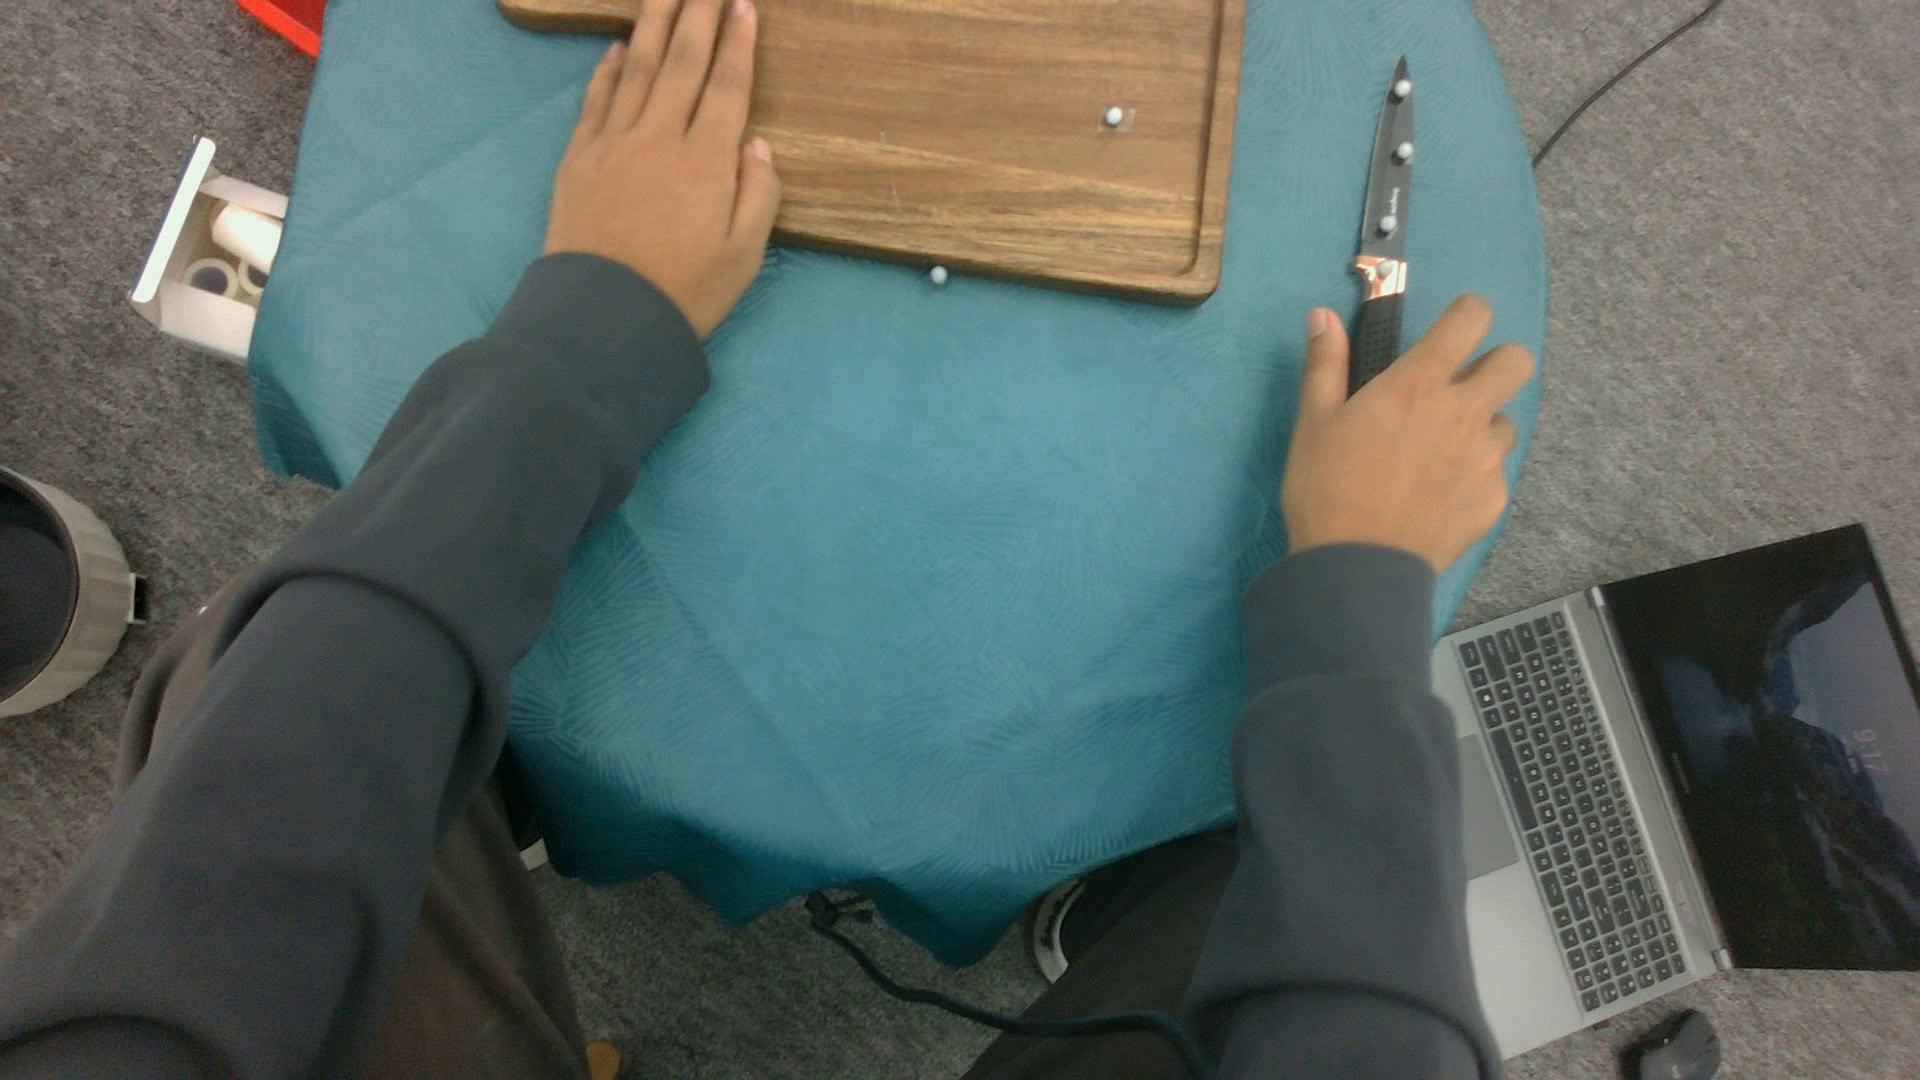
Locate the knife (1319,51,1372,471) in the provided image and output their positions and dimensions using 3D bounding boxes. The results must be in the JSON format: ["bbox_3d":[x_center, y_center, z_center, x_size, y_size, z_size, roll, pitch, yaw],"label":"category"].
[{"bbox_3d":[0.196,-0.145,0.700,0.026,0.017,0.226,5,79,-3],"label":"knife"}]

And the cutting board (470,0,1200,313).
[{"bbox_3d":[-0.054,-0.220,0.669,0.352,0.023,0.201,4,80,-8],"label":"cutting board"}]
